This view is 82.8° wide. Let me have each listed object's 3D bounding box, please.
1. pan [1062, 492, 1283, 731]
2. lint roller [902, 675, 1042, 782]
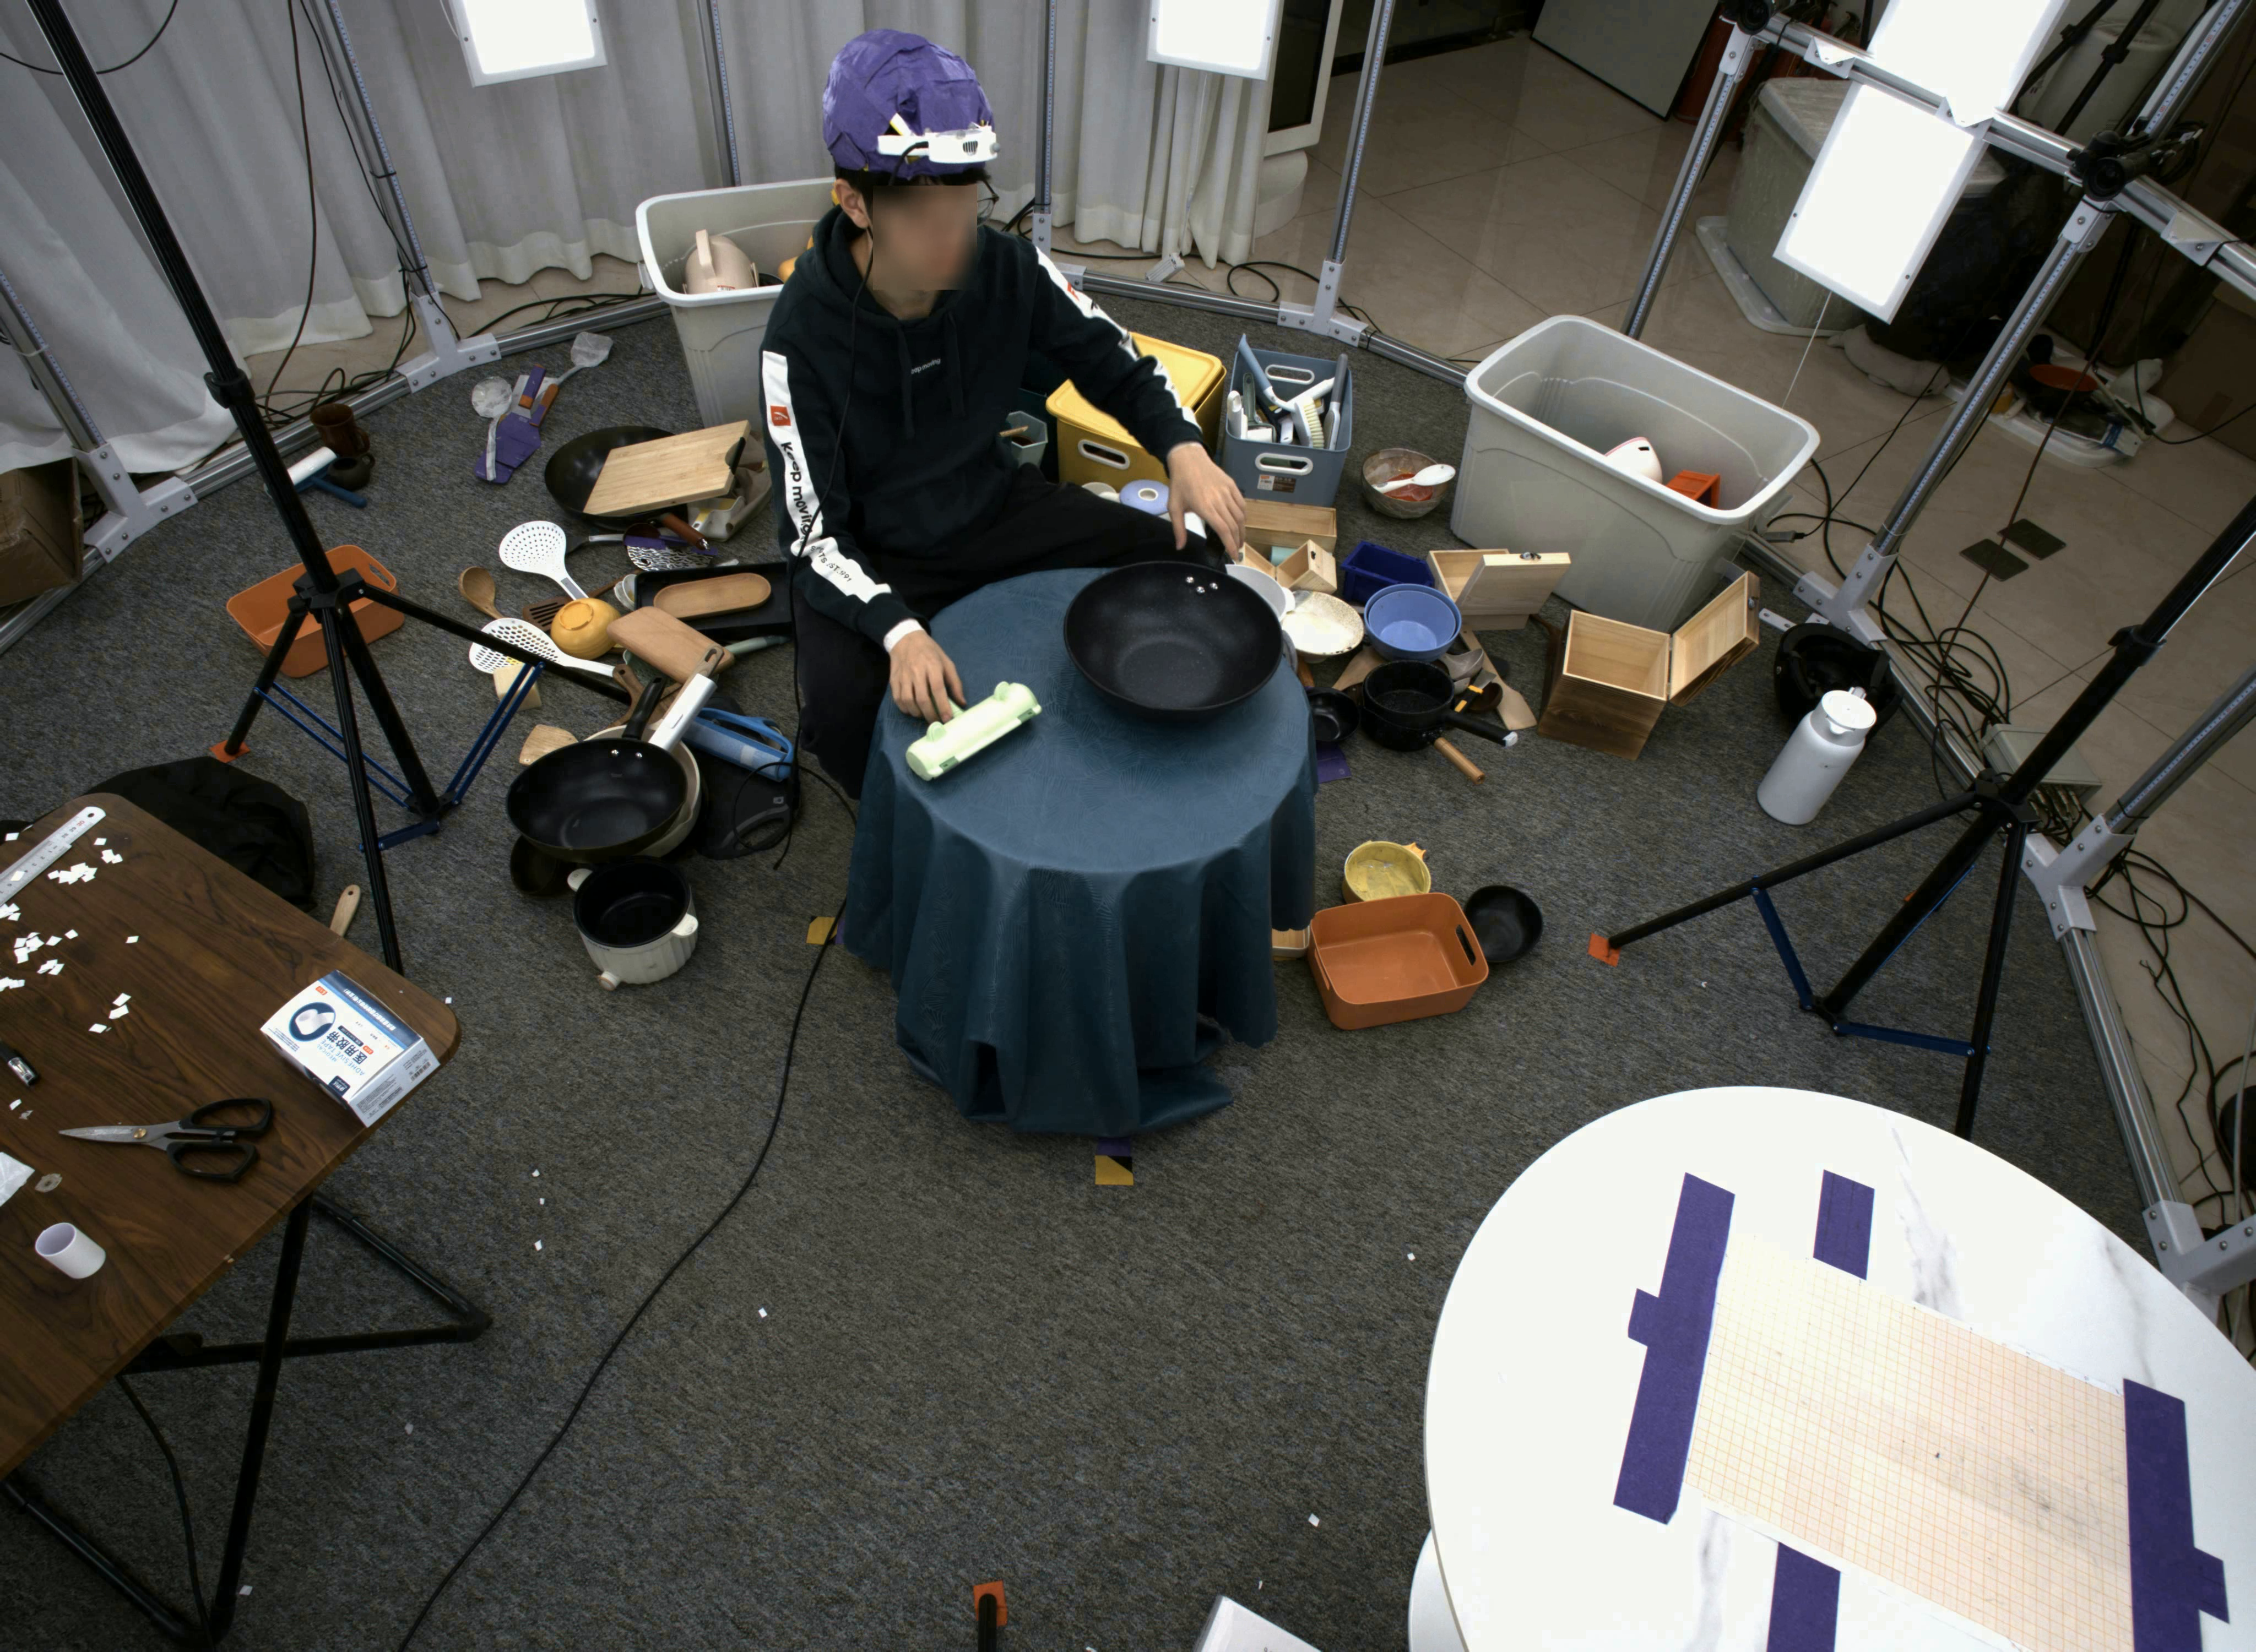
[{"bbox_3d":[0.088,-0.307,1.872,0.311,0.109,0.487,17,51,9],"label":"pan"},{"bbox_3d":[-0.246,-0.167,1.749,0.200,0.080,0.186,-35,64,-28],"label":"lint roller"}]
